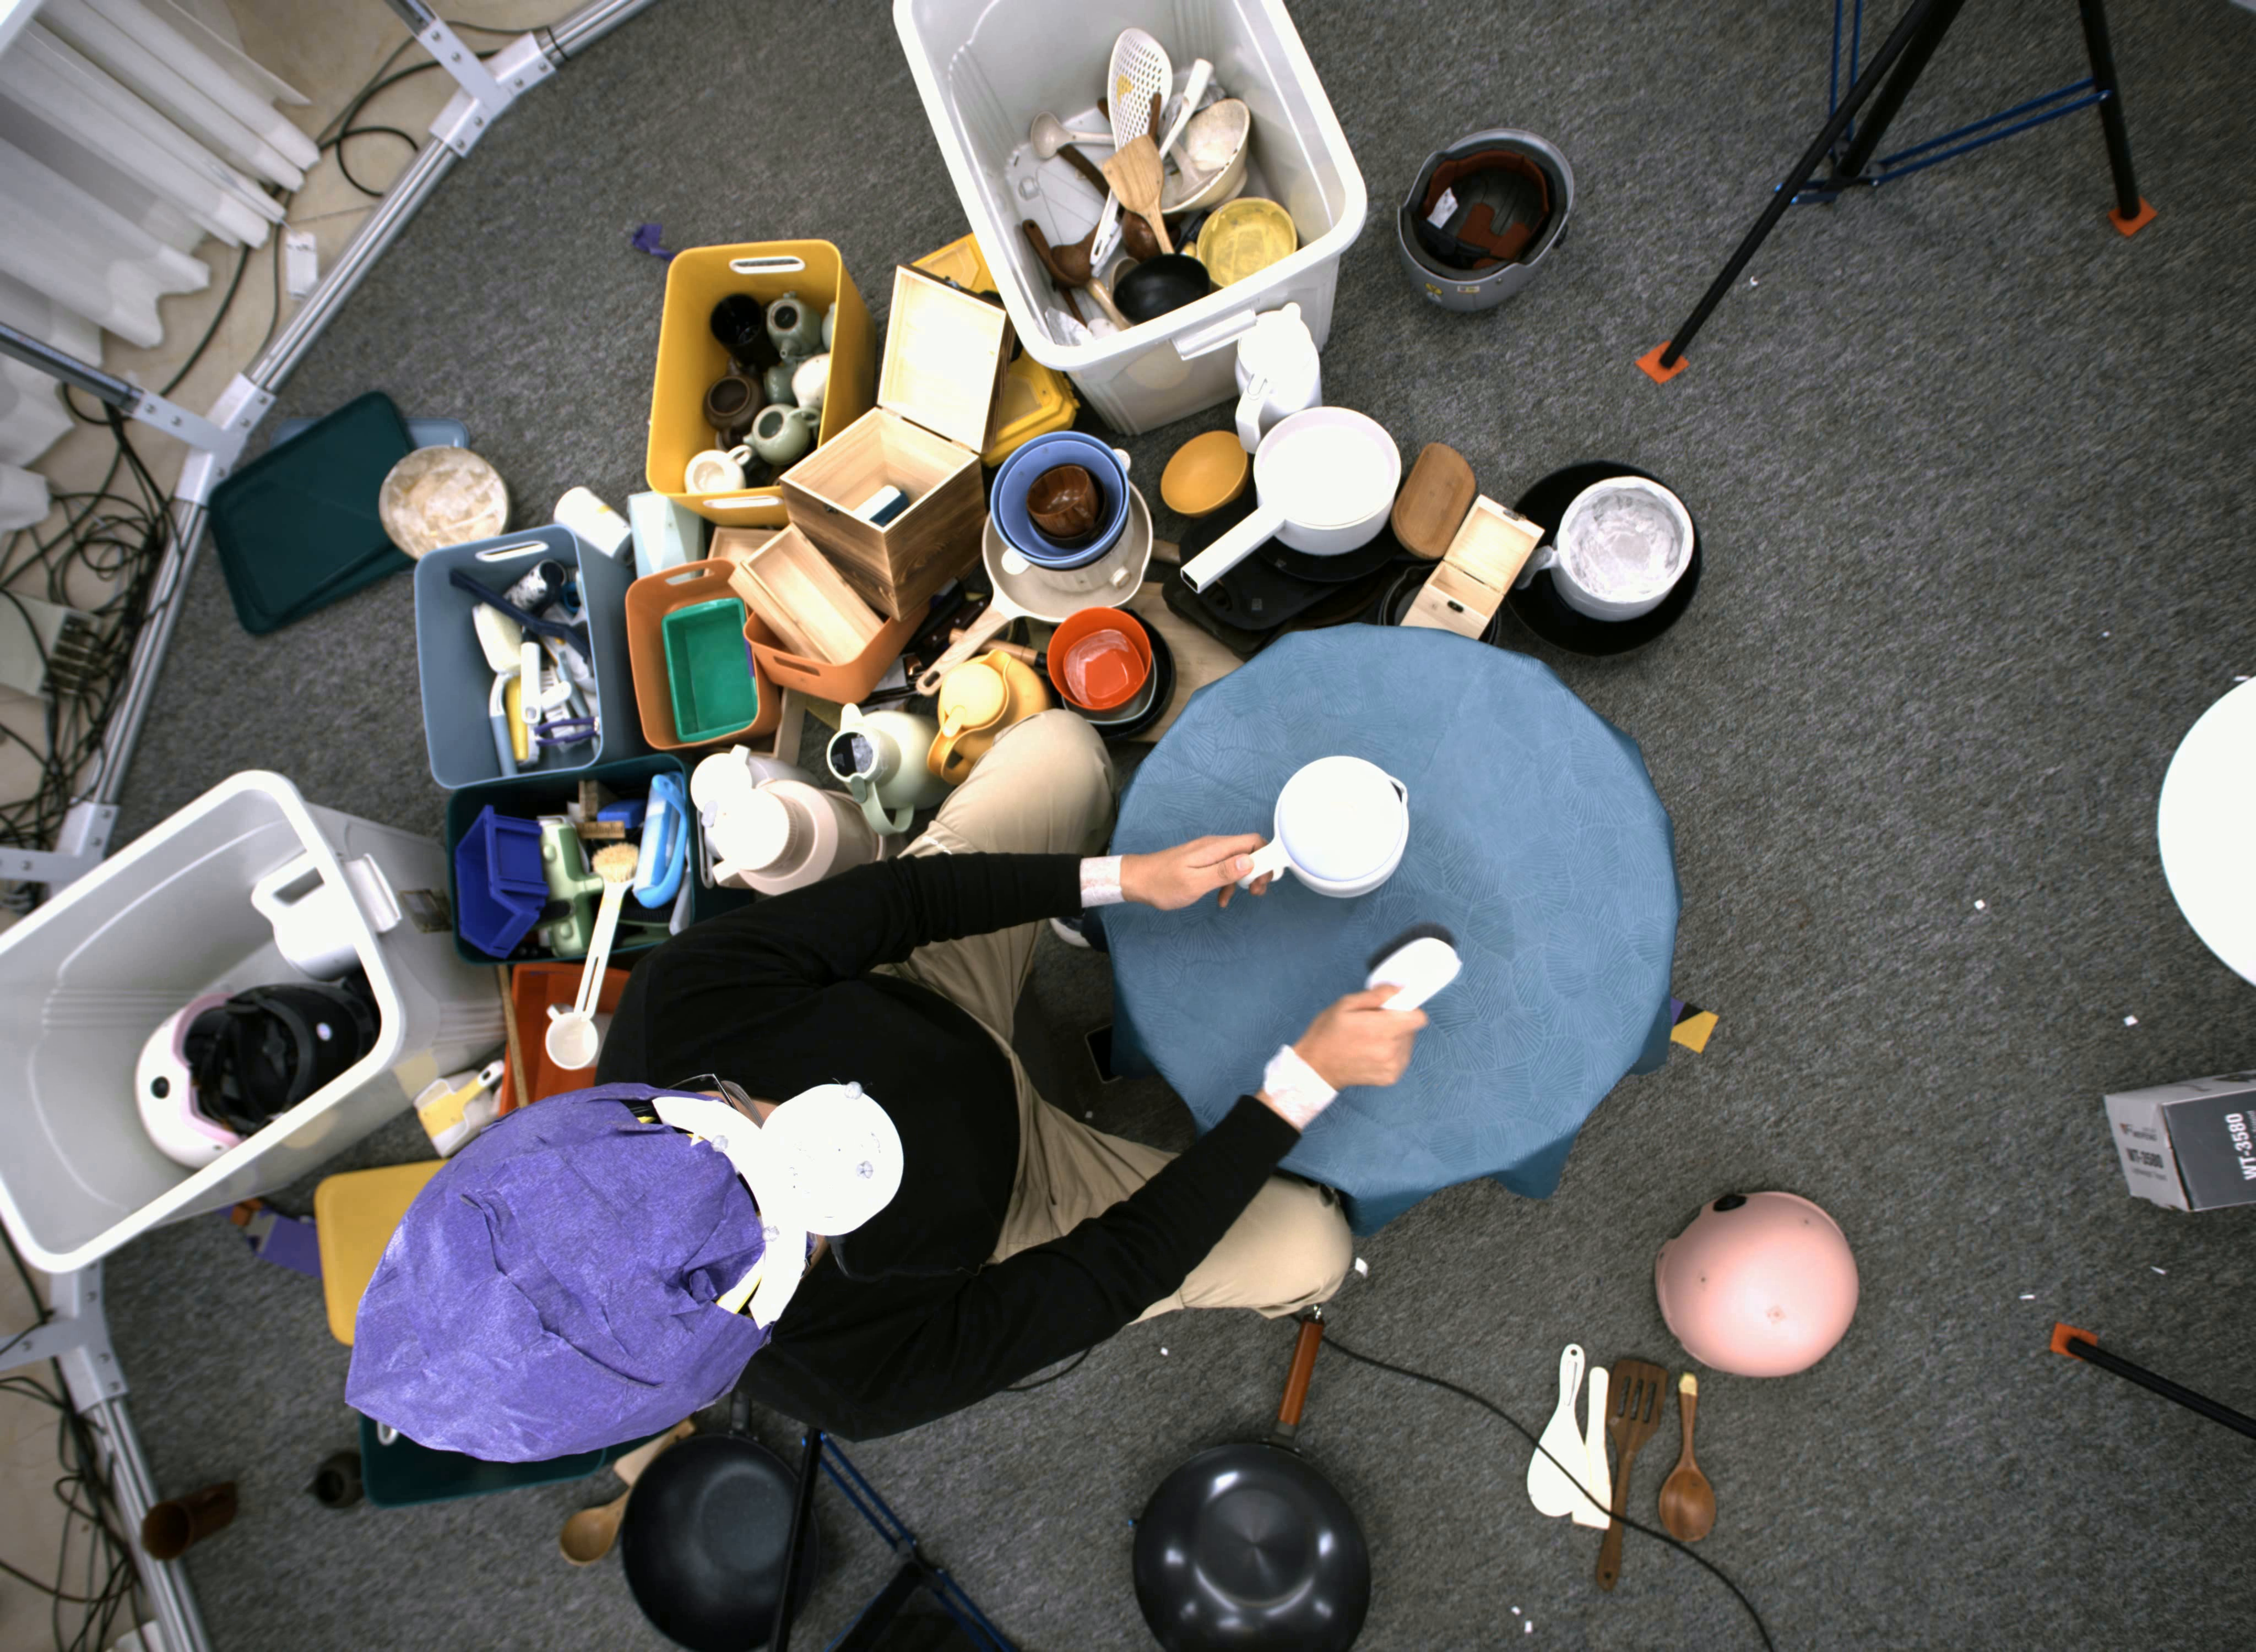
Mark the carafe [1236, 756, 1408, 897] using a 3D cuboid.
[{"bbox_3d":[0.192,0.013,1.391,0.192,0.182,0.131,-29,81,8],"label":"carafe"}]

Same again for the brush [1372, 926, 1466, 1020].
[{"bbox_3d":[0.278,0.147,1.323,0.050,0.070,0.101,42,124,-17],"label":"brush"}]
